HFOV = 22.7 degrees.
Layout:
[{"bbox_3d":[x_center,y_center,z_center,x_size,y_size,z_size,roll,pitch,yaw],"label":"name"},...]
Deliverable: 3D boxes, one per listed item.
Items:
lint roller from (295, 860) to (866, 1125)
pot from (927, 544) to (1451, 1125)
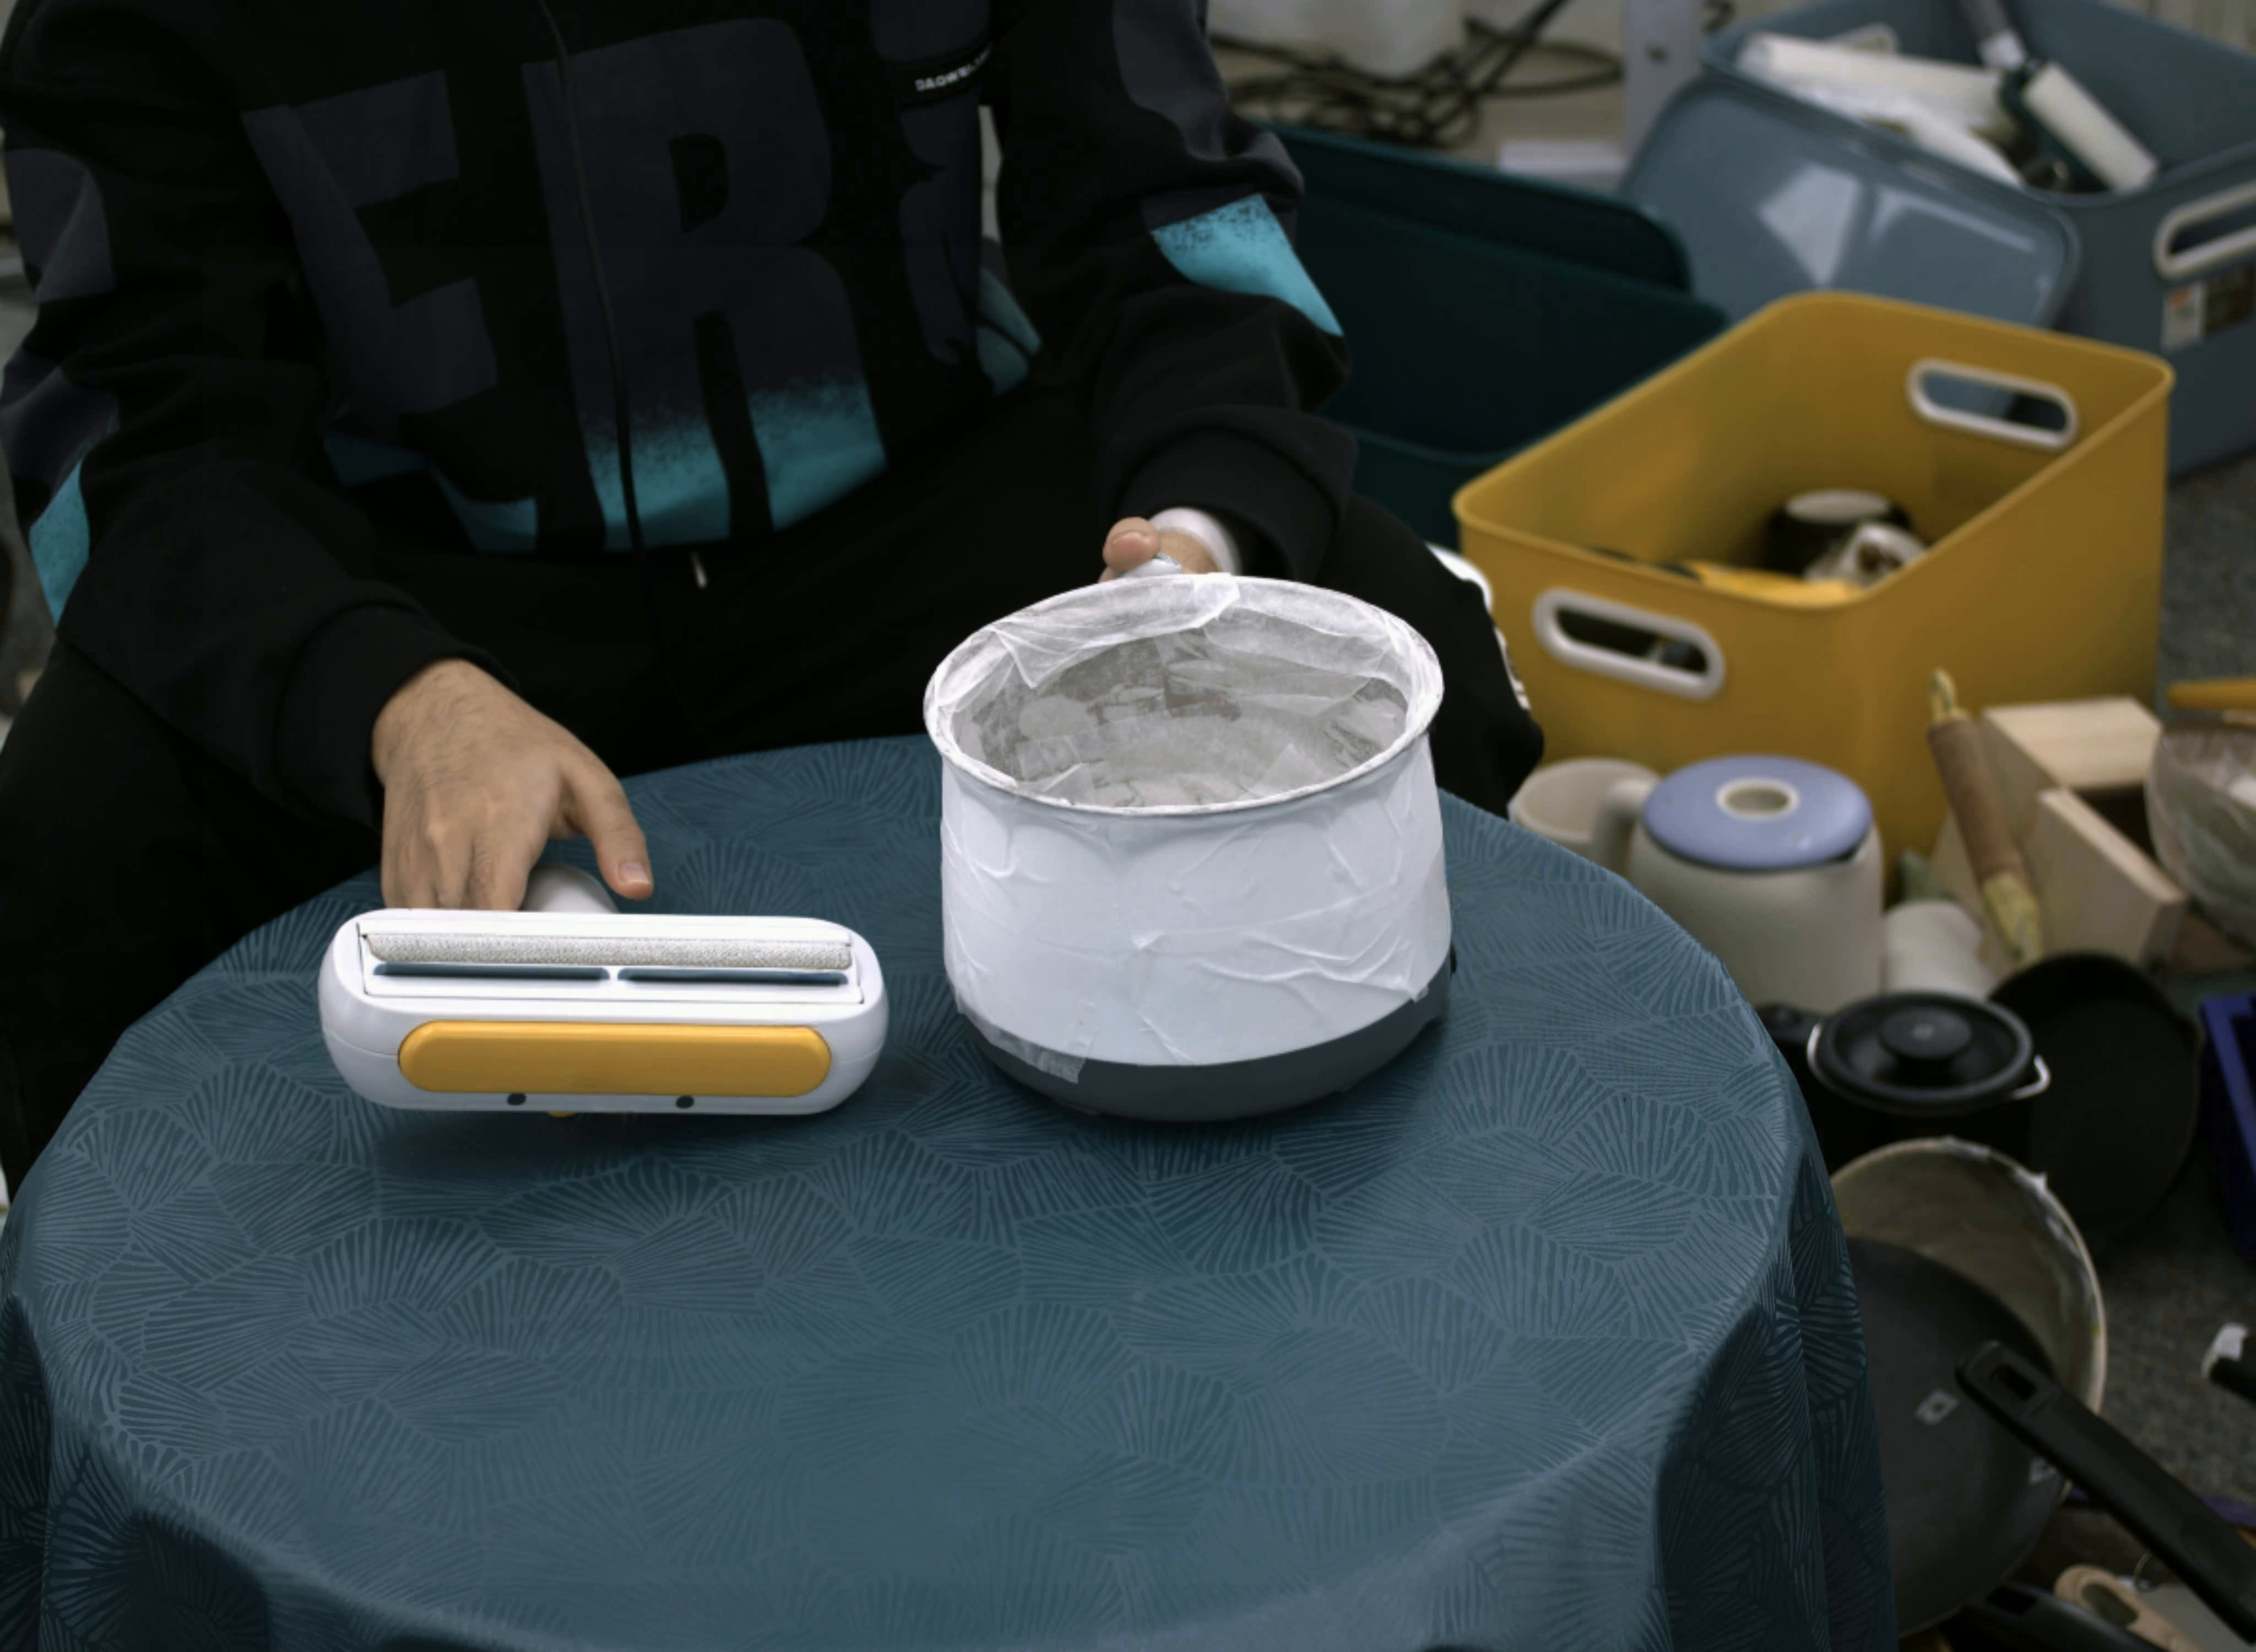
[{"bbox_3d":[-0.193,0.045,1.954,0.192,0.073,0.195,-1,25,-9],"label":"lint roller"},{"bbox_3d":[0.019,-0.004,1.950,0.178,0.135,0.237,-4,28,-6],"label":"pot"}]
